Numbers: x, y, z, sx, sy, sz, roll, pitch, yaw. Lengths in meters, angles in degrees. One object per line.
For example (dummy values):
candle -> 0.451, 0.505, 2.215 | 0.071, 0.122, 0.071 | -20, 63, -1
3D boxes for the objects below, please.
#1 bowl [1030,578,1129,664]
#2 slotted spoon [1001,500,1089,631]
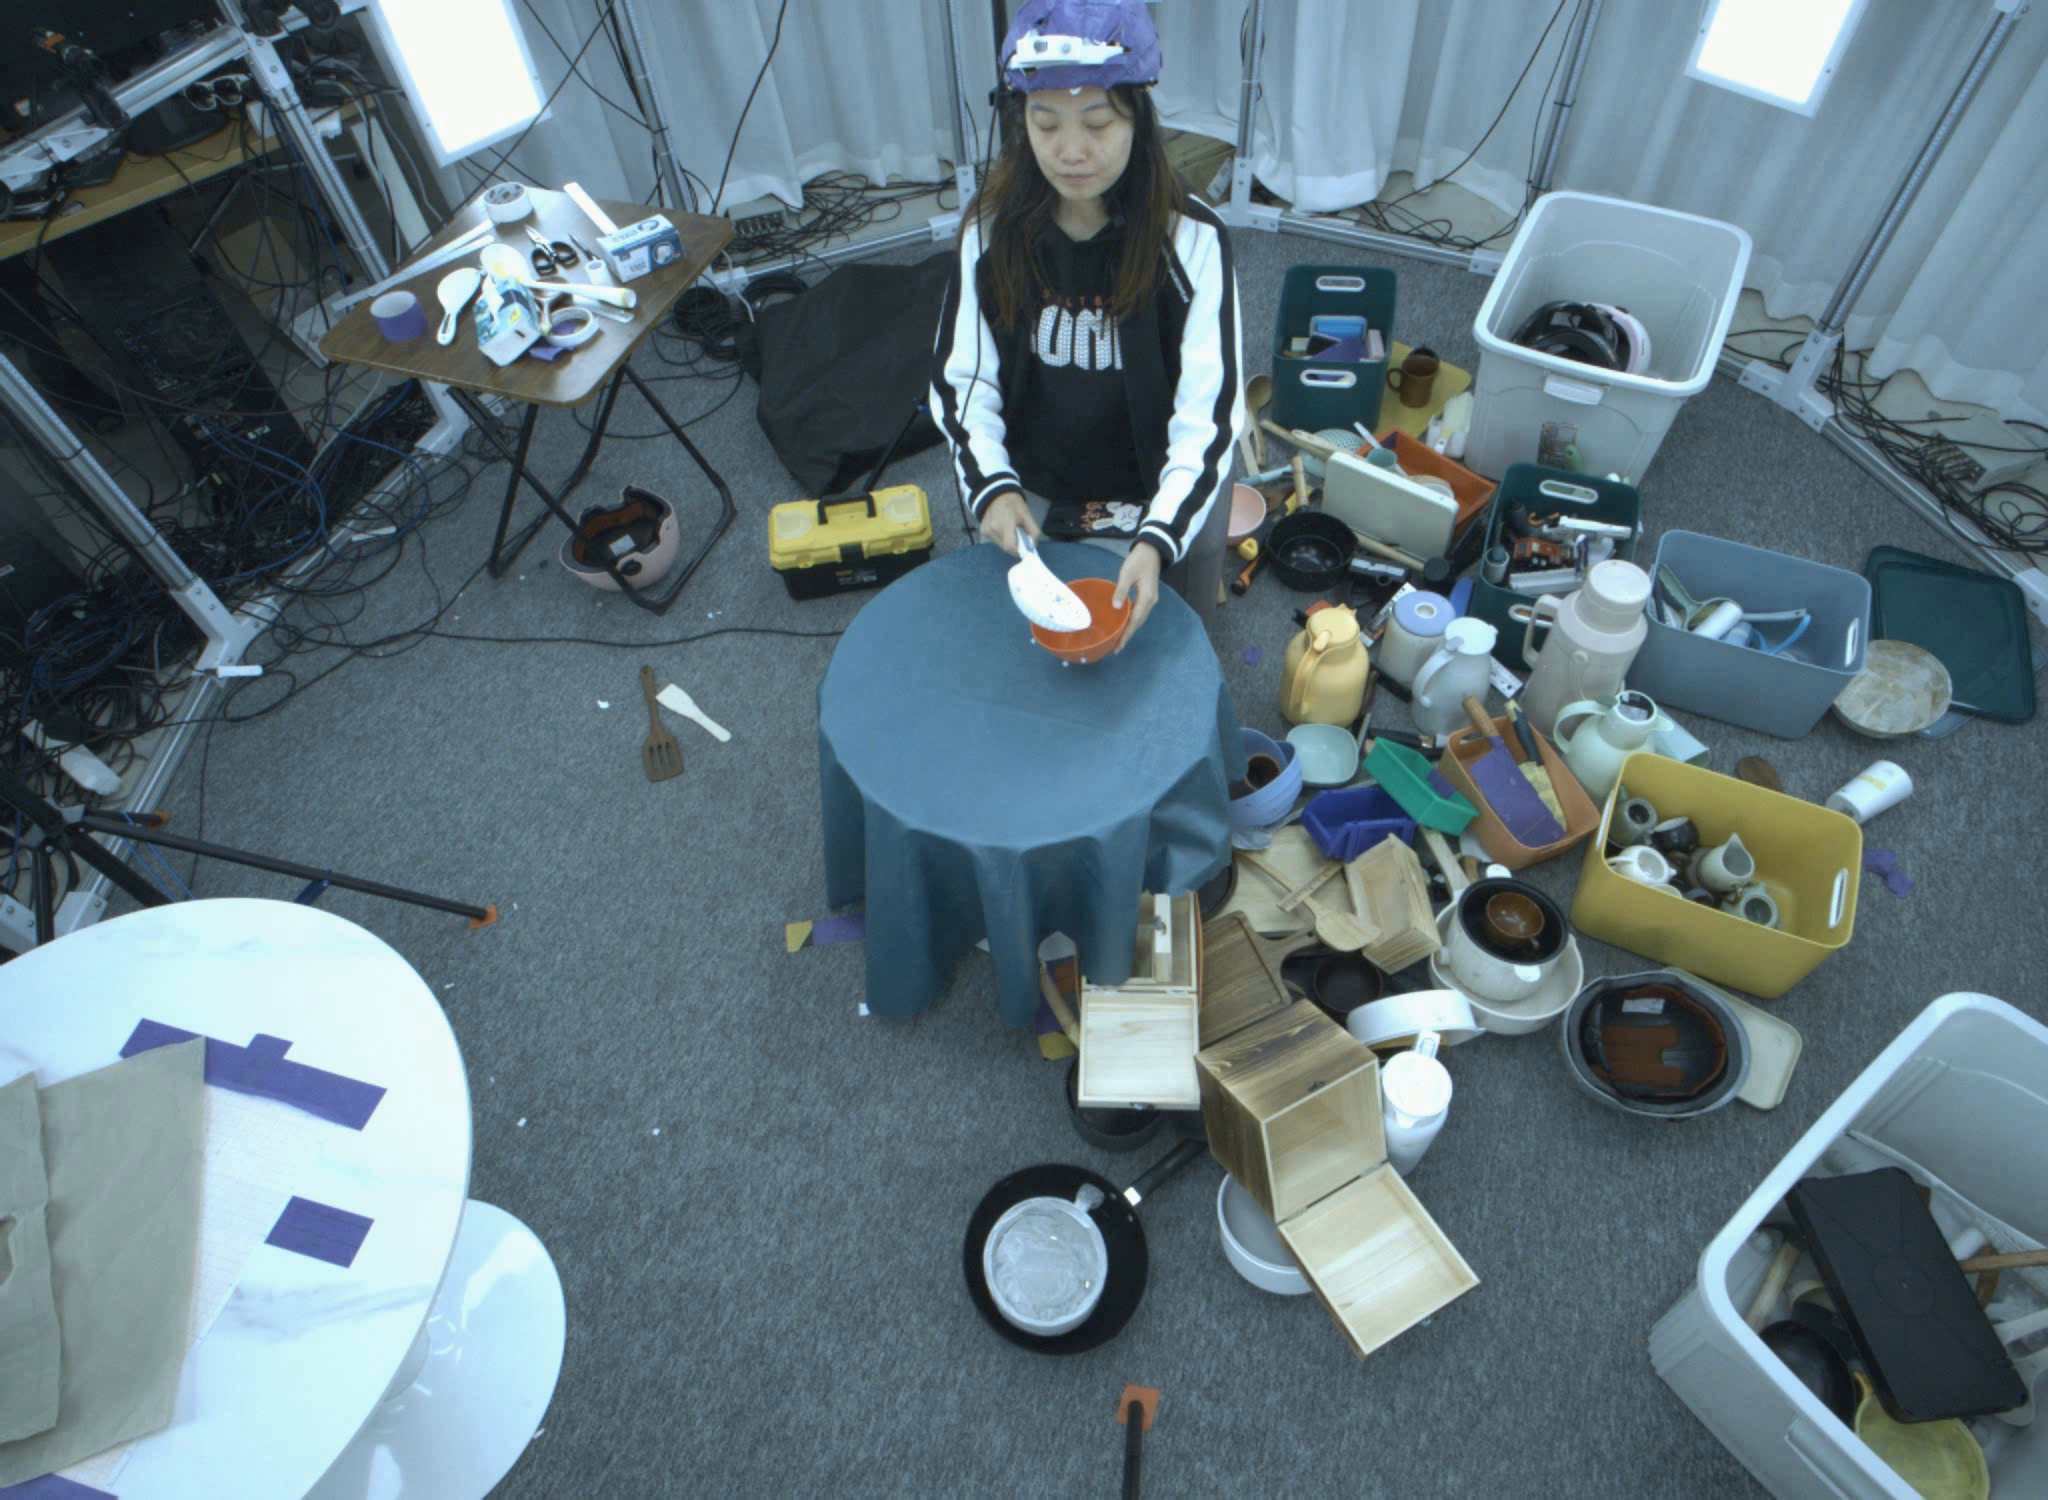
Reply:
bowl -> 0.089, -0.175, 1.809 | 0.147, 0.106, 0.146 | -6, 58, 12
slotted spoon -> 0.009, -0.282, 1.823 | 0.139, 0.045, 0.344 | 22, 36, -31
